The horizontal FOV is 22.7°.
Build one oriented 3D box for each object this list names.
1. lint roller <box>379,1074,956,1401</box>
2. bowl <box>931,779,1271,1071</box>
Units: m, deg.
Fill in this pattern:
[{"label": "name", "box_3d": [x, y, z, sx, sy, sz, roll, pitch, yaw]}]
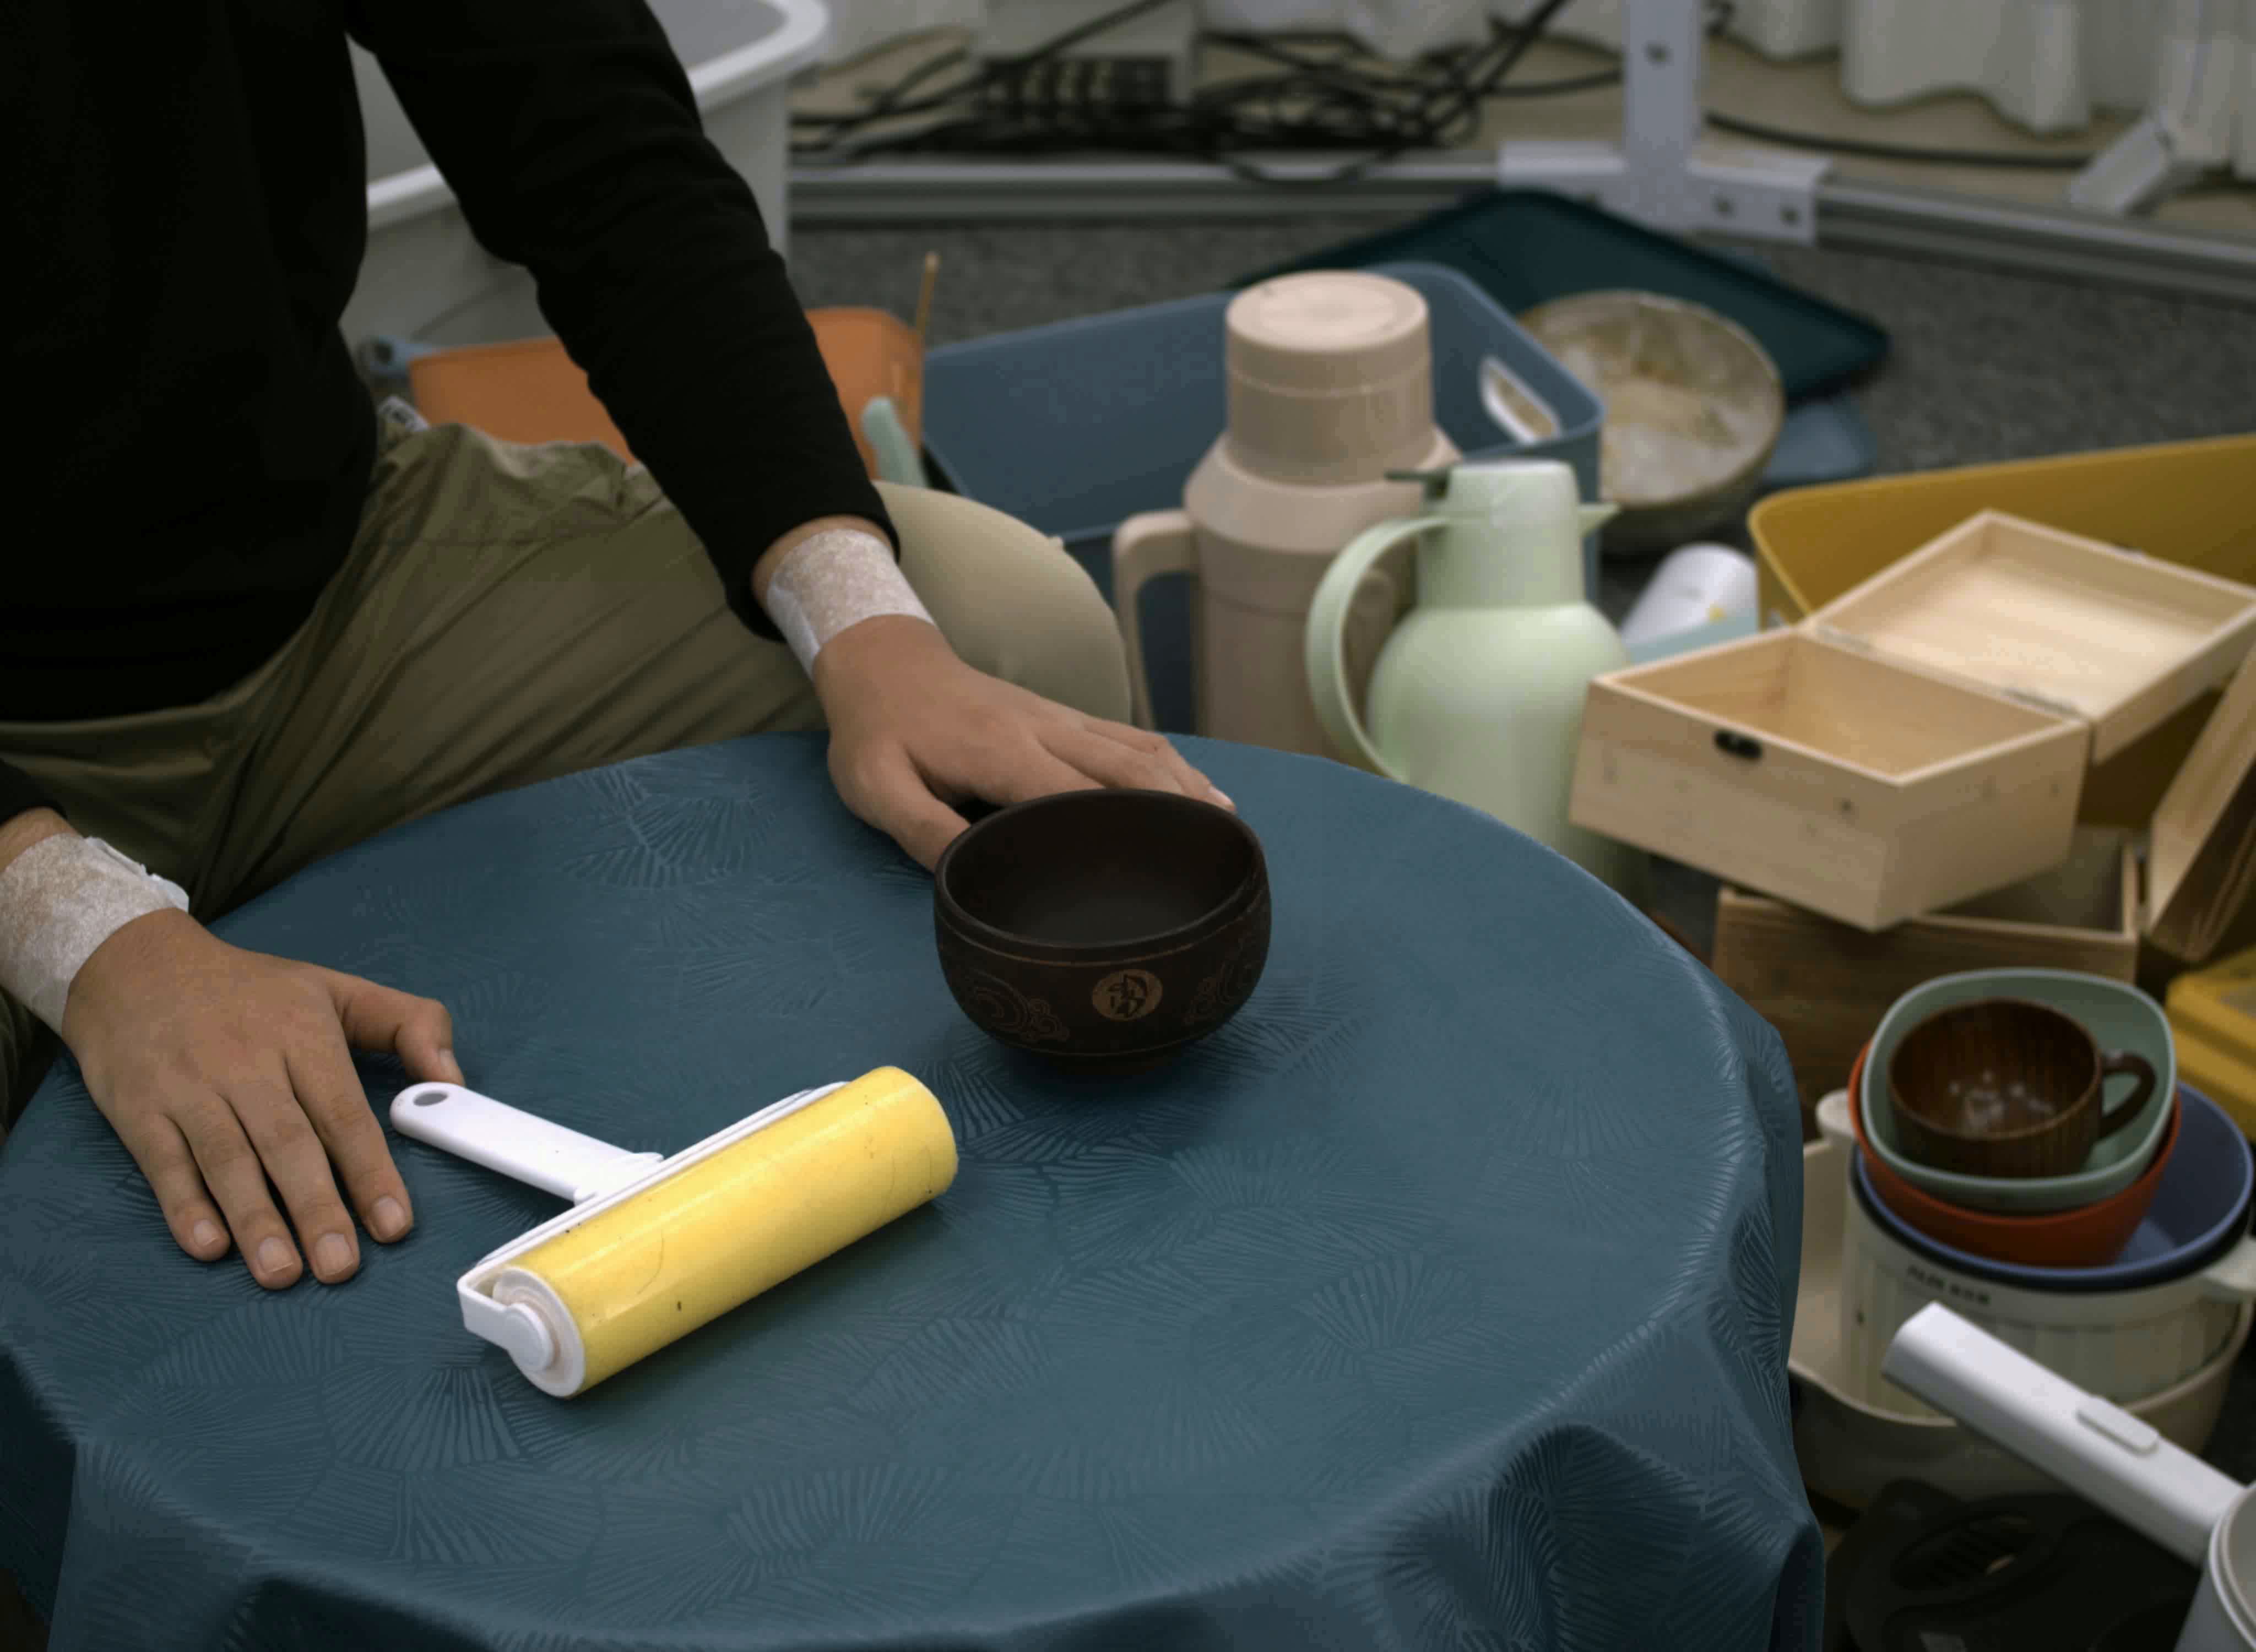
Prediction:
[{"label": "lint roller", "box_3d": [-0.181, 0.108, 1.850, 0.192, 0.051, 0.176, 26, 38, 36]}, {"label": "bowl", "box_3d": [-0.009, 0.041, 1.938, 0.117, 0.069, 0.120, -1, 27, 1]}]
